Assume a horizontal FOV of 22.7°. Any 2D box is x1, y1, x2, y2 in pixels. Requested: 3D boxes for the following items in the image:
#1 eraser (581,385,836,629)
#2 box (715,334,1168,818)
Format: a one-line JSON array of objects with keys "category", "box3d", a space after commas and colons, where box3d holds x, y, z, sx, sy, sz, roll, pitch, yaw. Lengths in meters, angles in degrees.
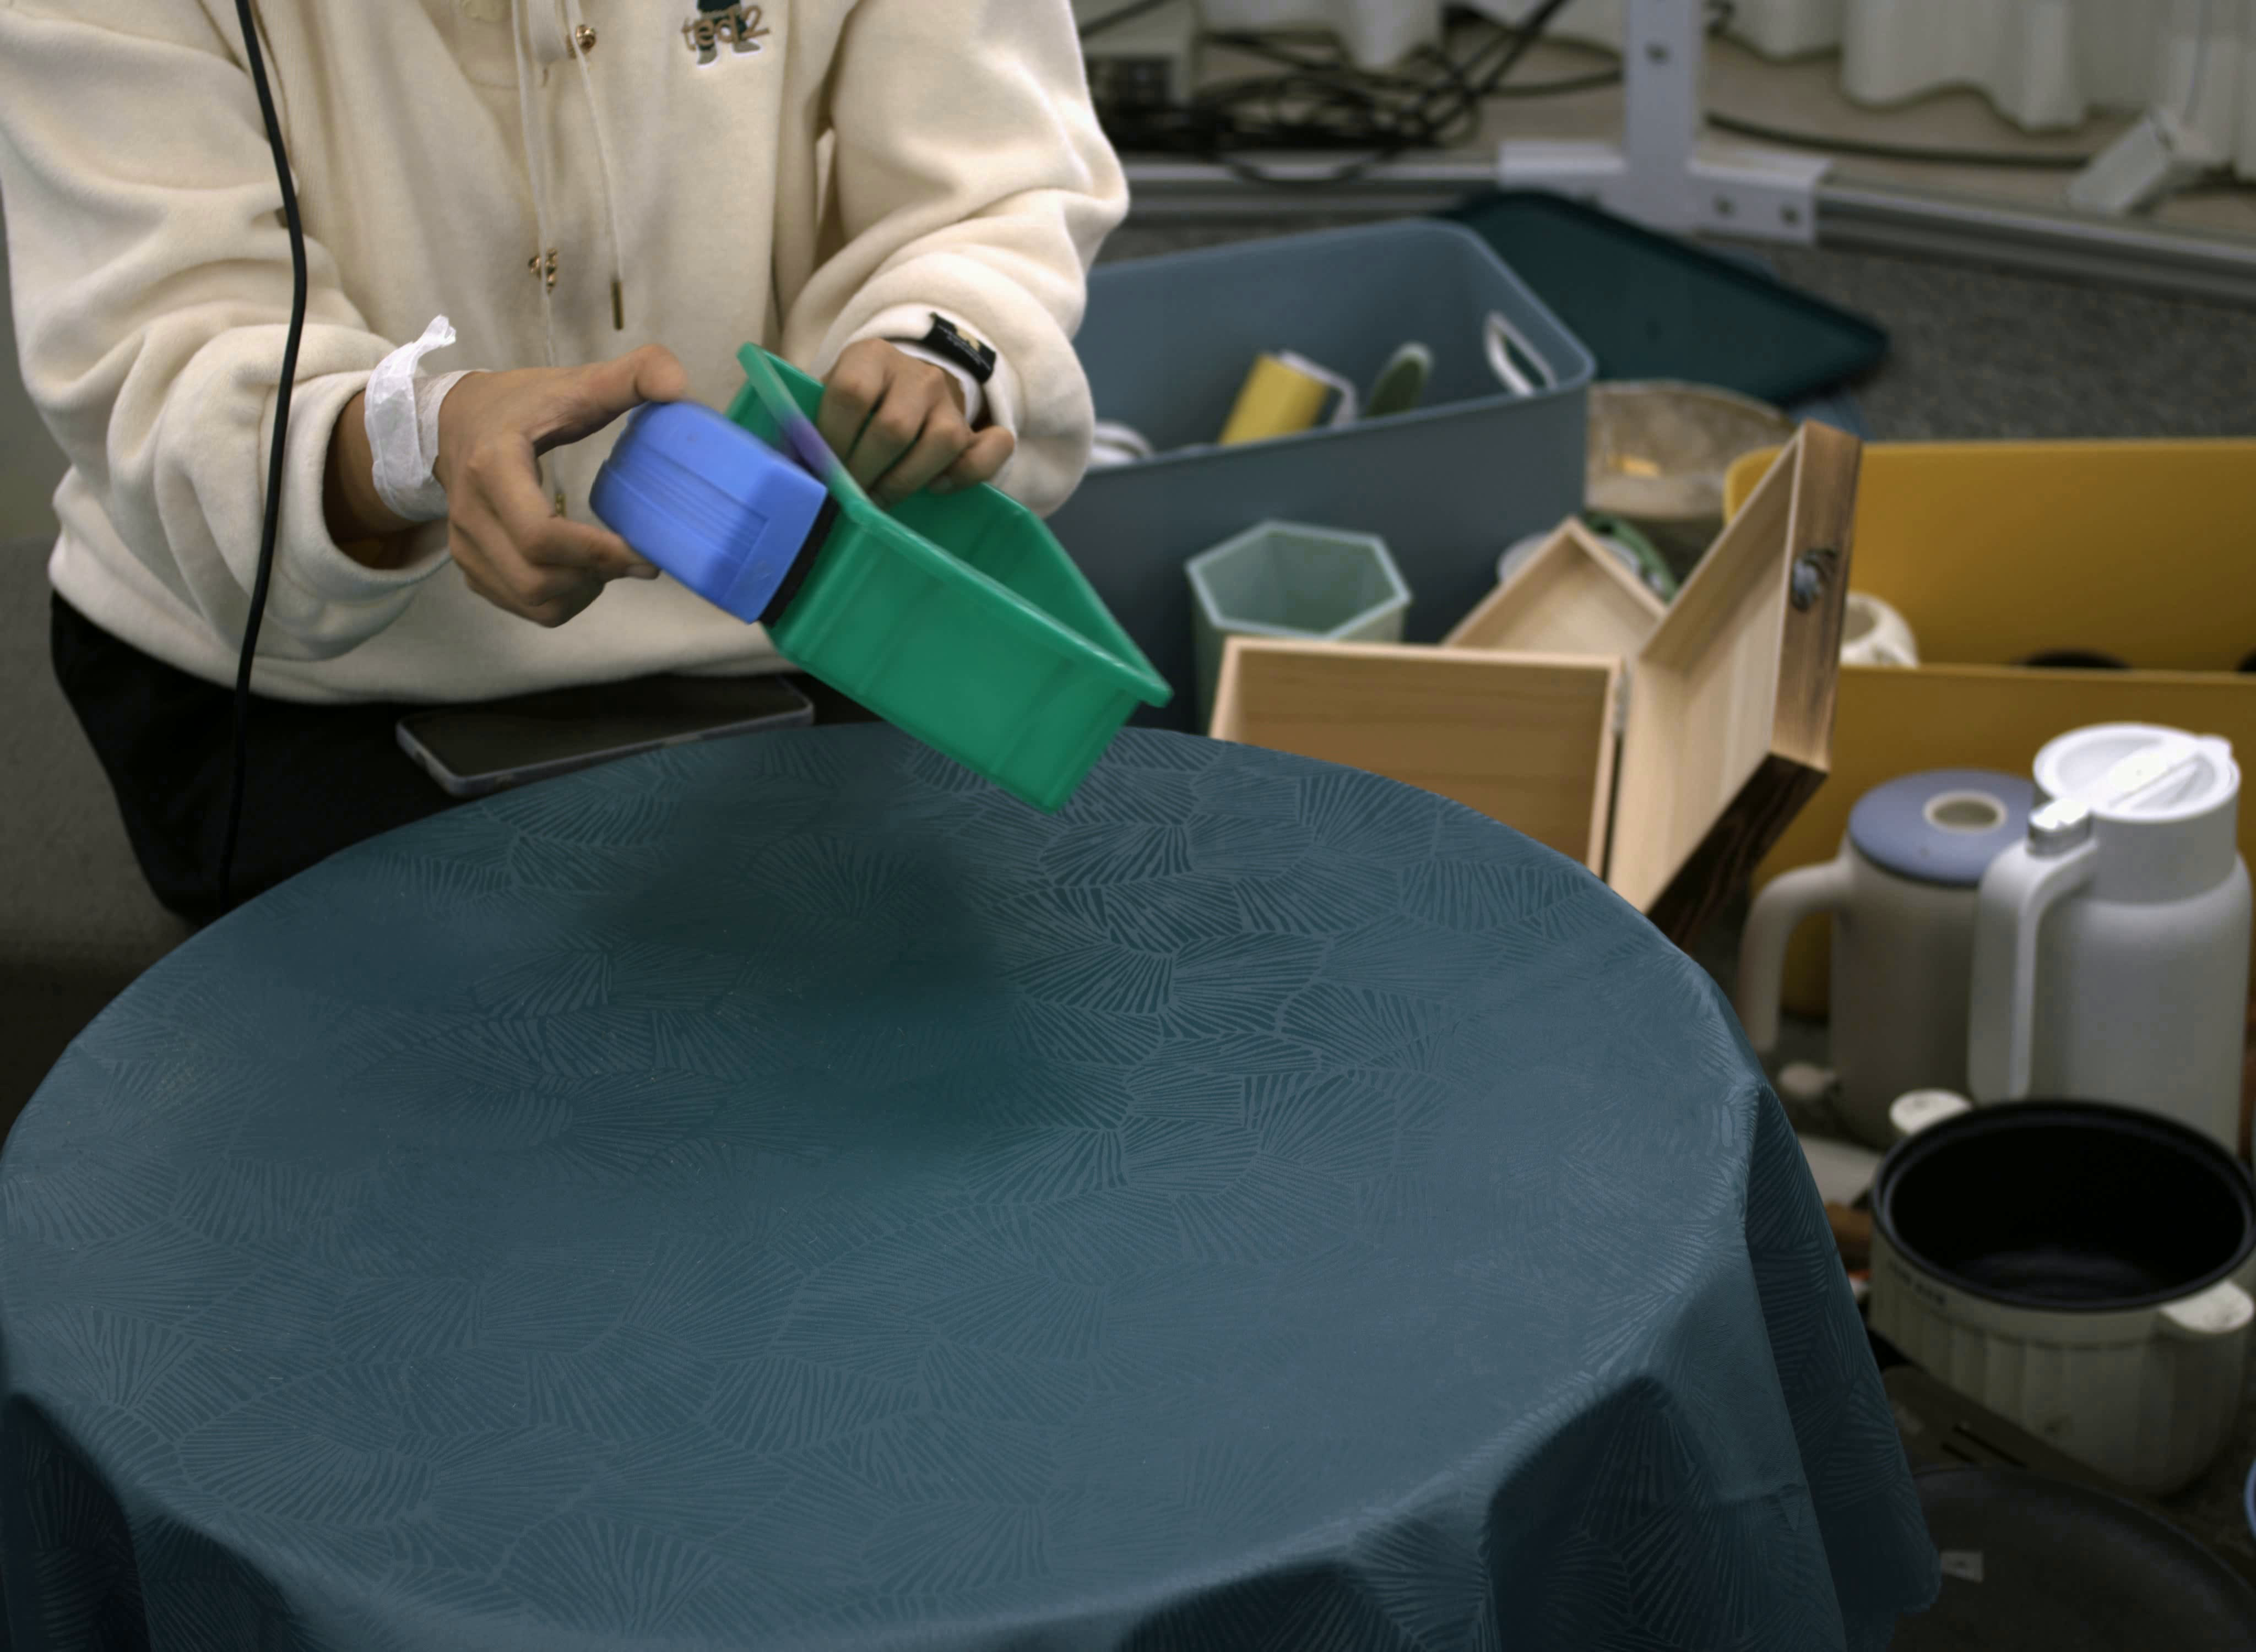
[{"category": "eraser", "box3d": [-0.151, -0.114, 1.939, 0.047, 0.054, 0.162, 29, 3, -23]}, {"category": "box", "box3d": [-0.078, -0.086, 1.983, 0.138, 0.065, 0.212, 30, 12, -25]}]
